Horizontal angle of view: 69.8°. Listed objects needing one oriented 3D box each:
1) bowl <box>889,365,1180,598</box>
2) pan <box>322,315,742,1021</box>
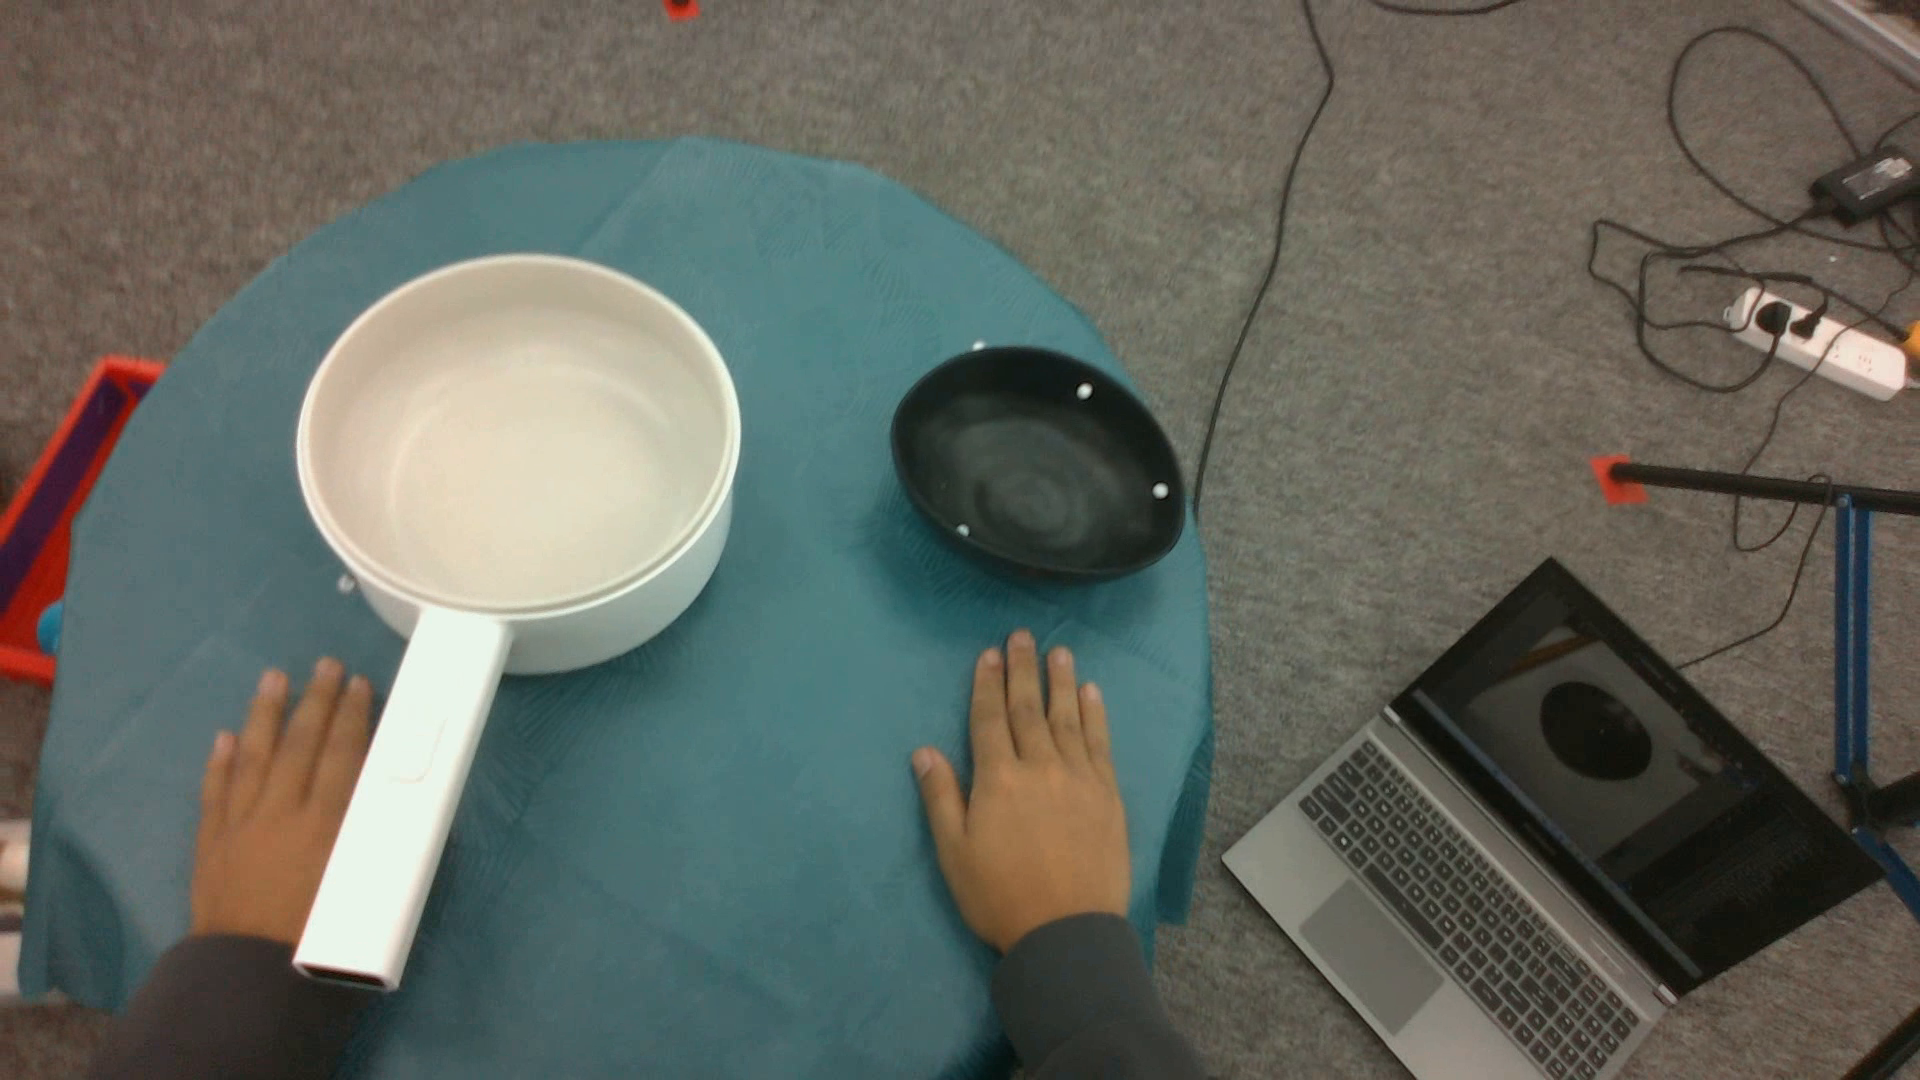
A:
[{"bbox_3d":[0.040,-0.024,0.783,0.170,0.066,0.138,18,59,1],"label":"bowl"},{"bbox_3d":[-0.223,0.057,0.687,0.201,0.101,0.356,8,61,-5],"label":"pan"}]
